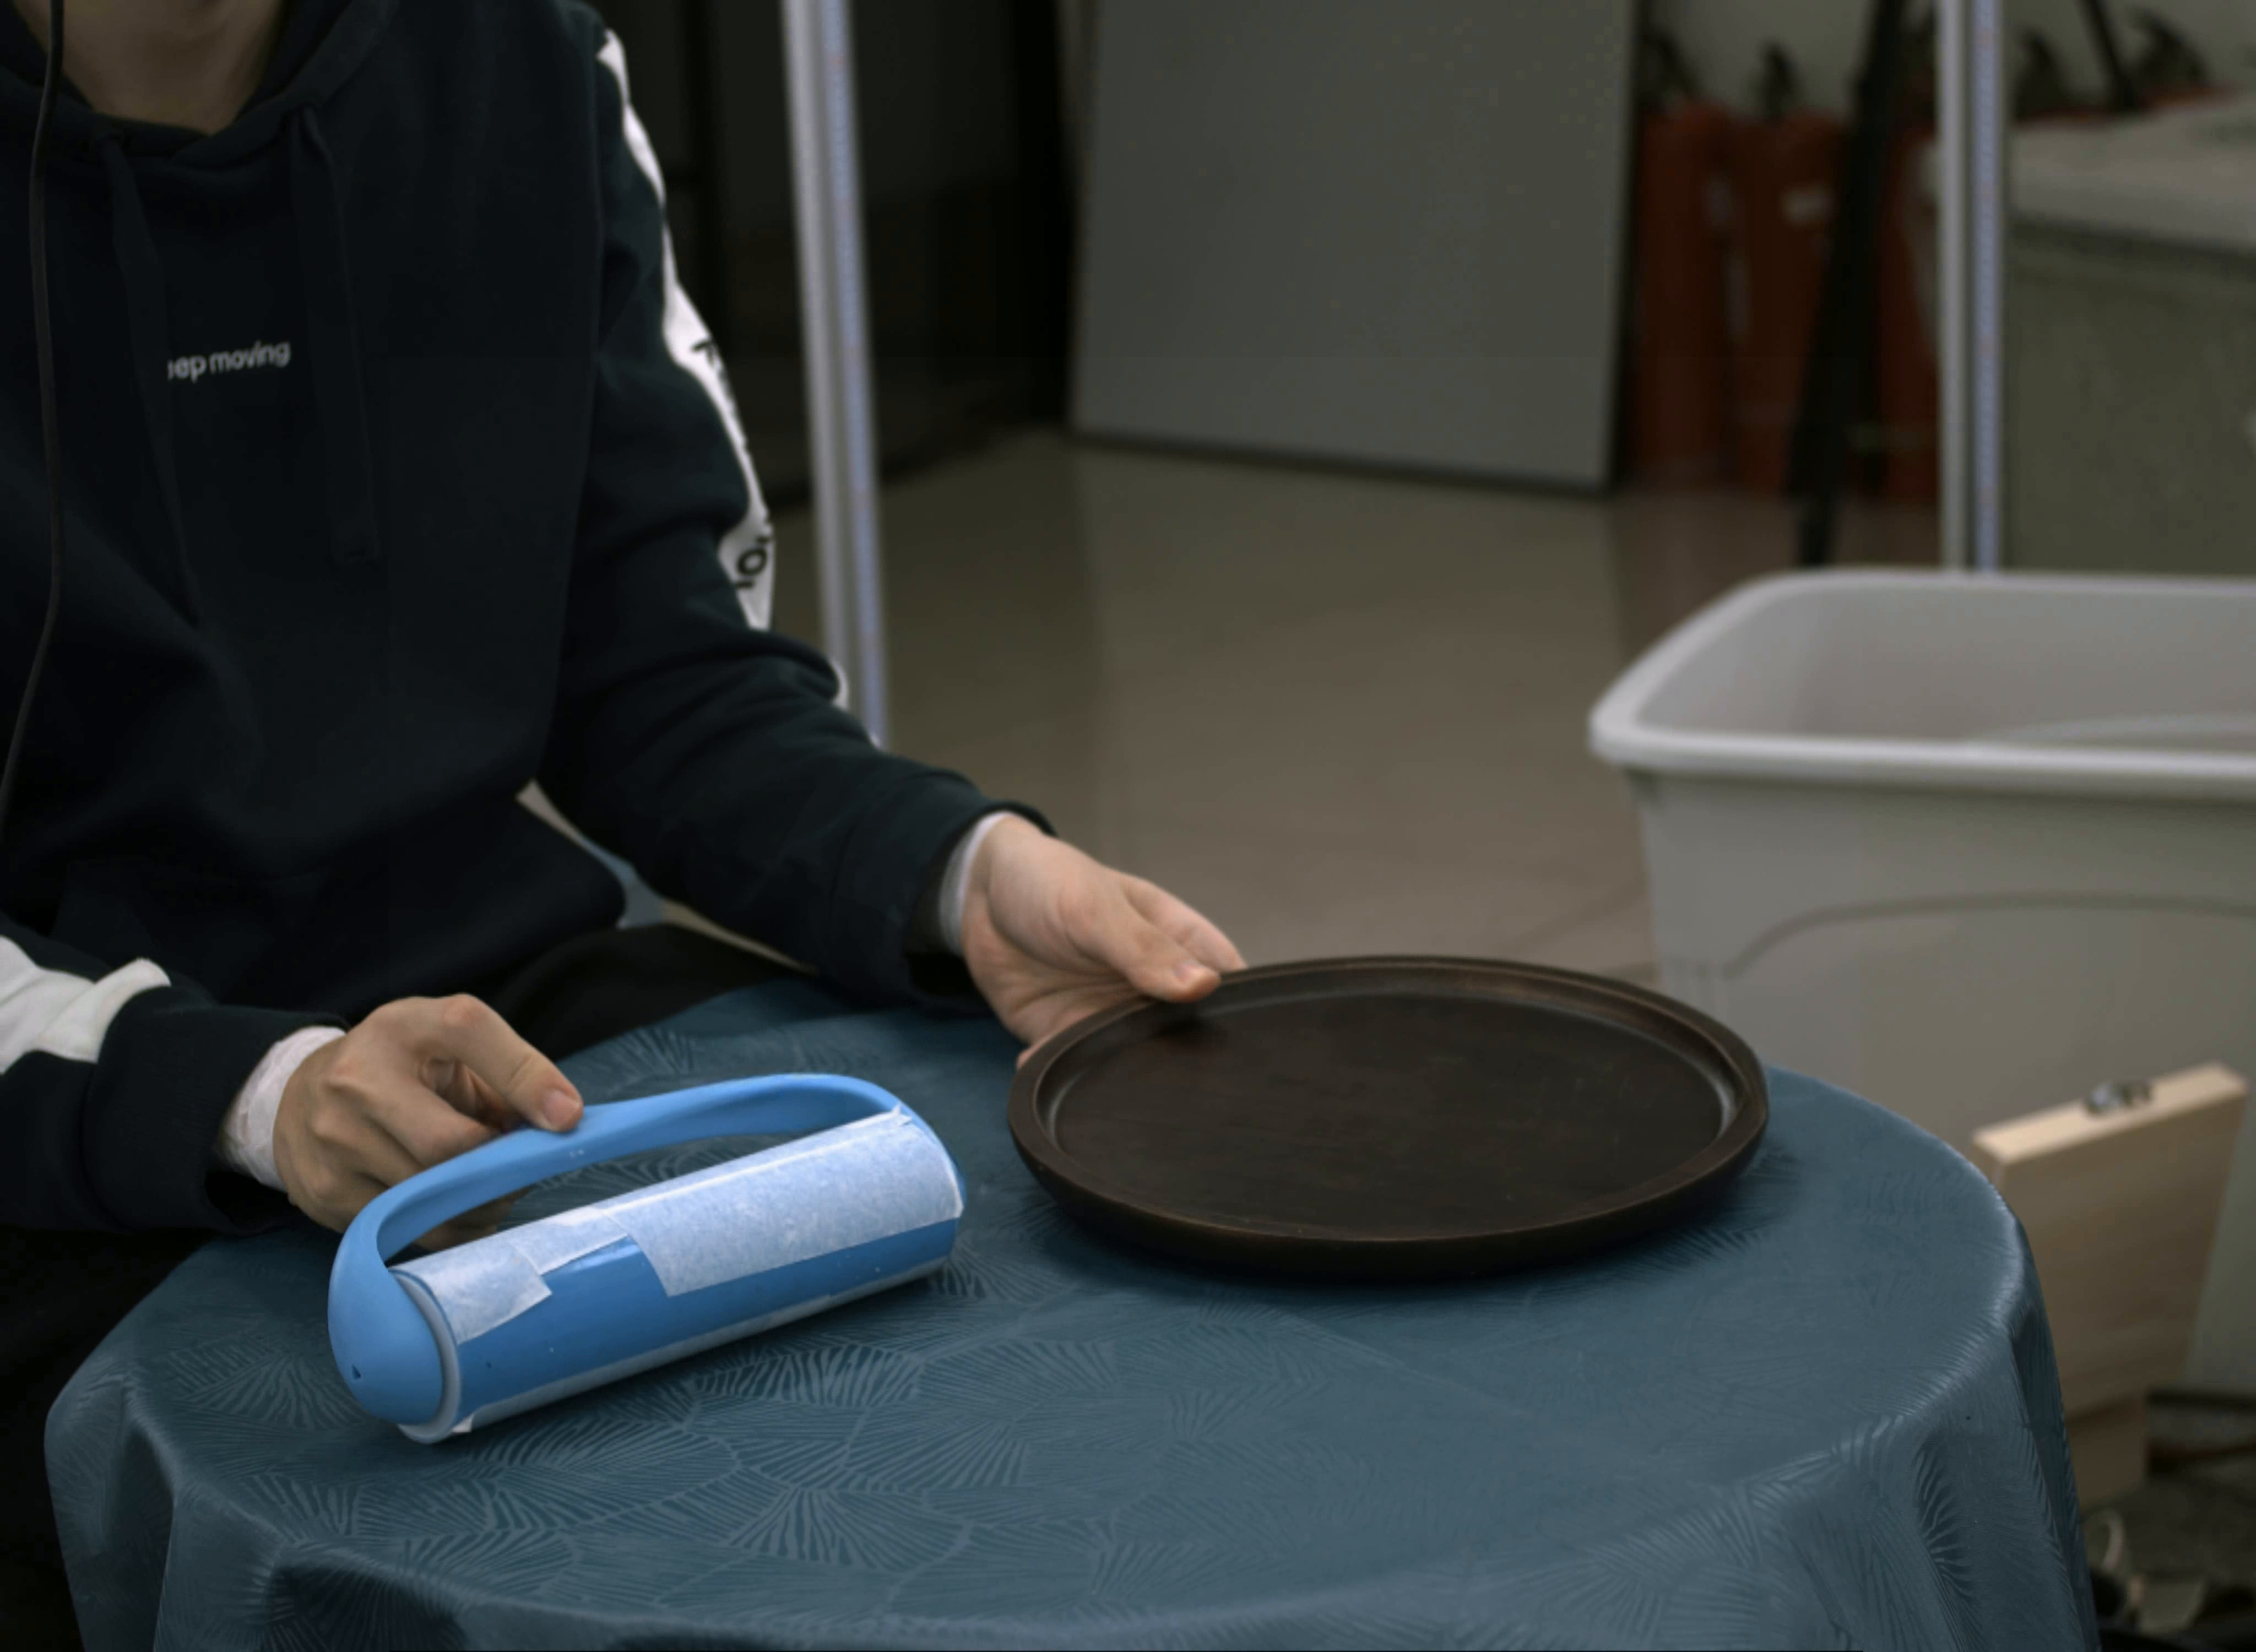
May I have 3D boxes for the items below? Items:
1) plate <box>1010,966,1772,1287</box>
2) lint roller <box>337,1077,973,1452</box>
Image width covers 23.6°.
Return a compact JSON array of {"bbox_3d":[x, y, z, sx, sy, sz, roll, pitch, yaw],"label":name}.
[{"bbox_3d":[0.086,0.096,1.765,0.251,0.029,0.255,-2,18,0],"label":"plate"},{"bbox_3d":[-0.179,0.122,1.679,0.224,0.068,0.182,-19,25,-41],"label":"lint roller"}]
